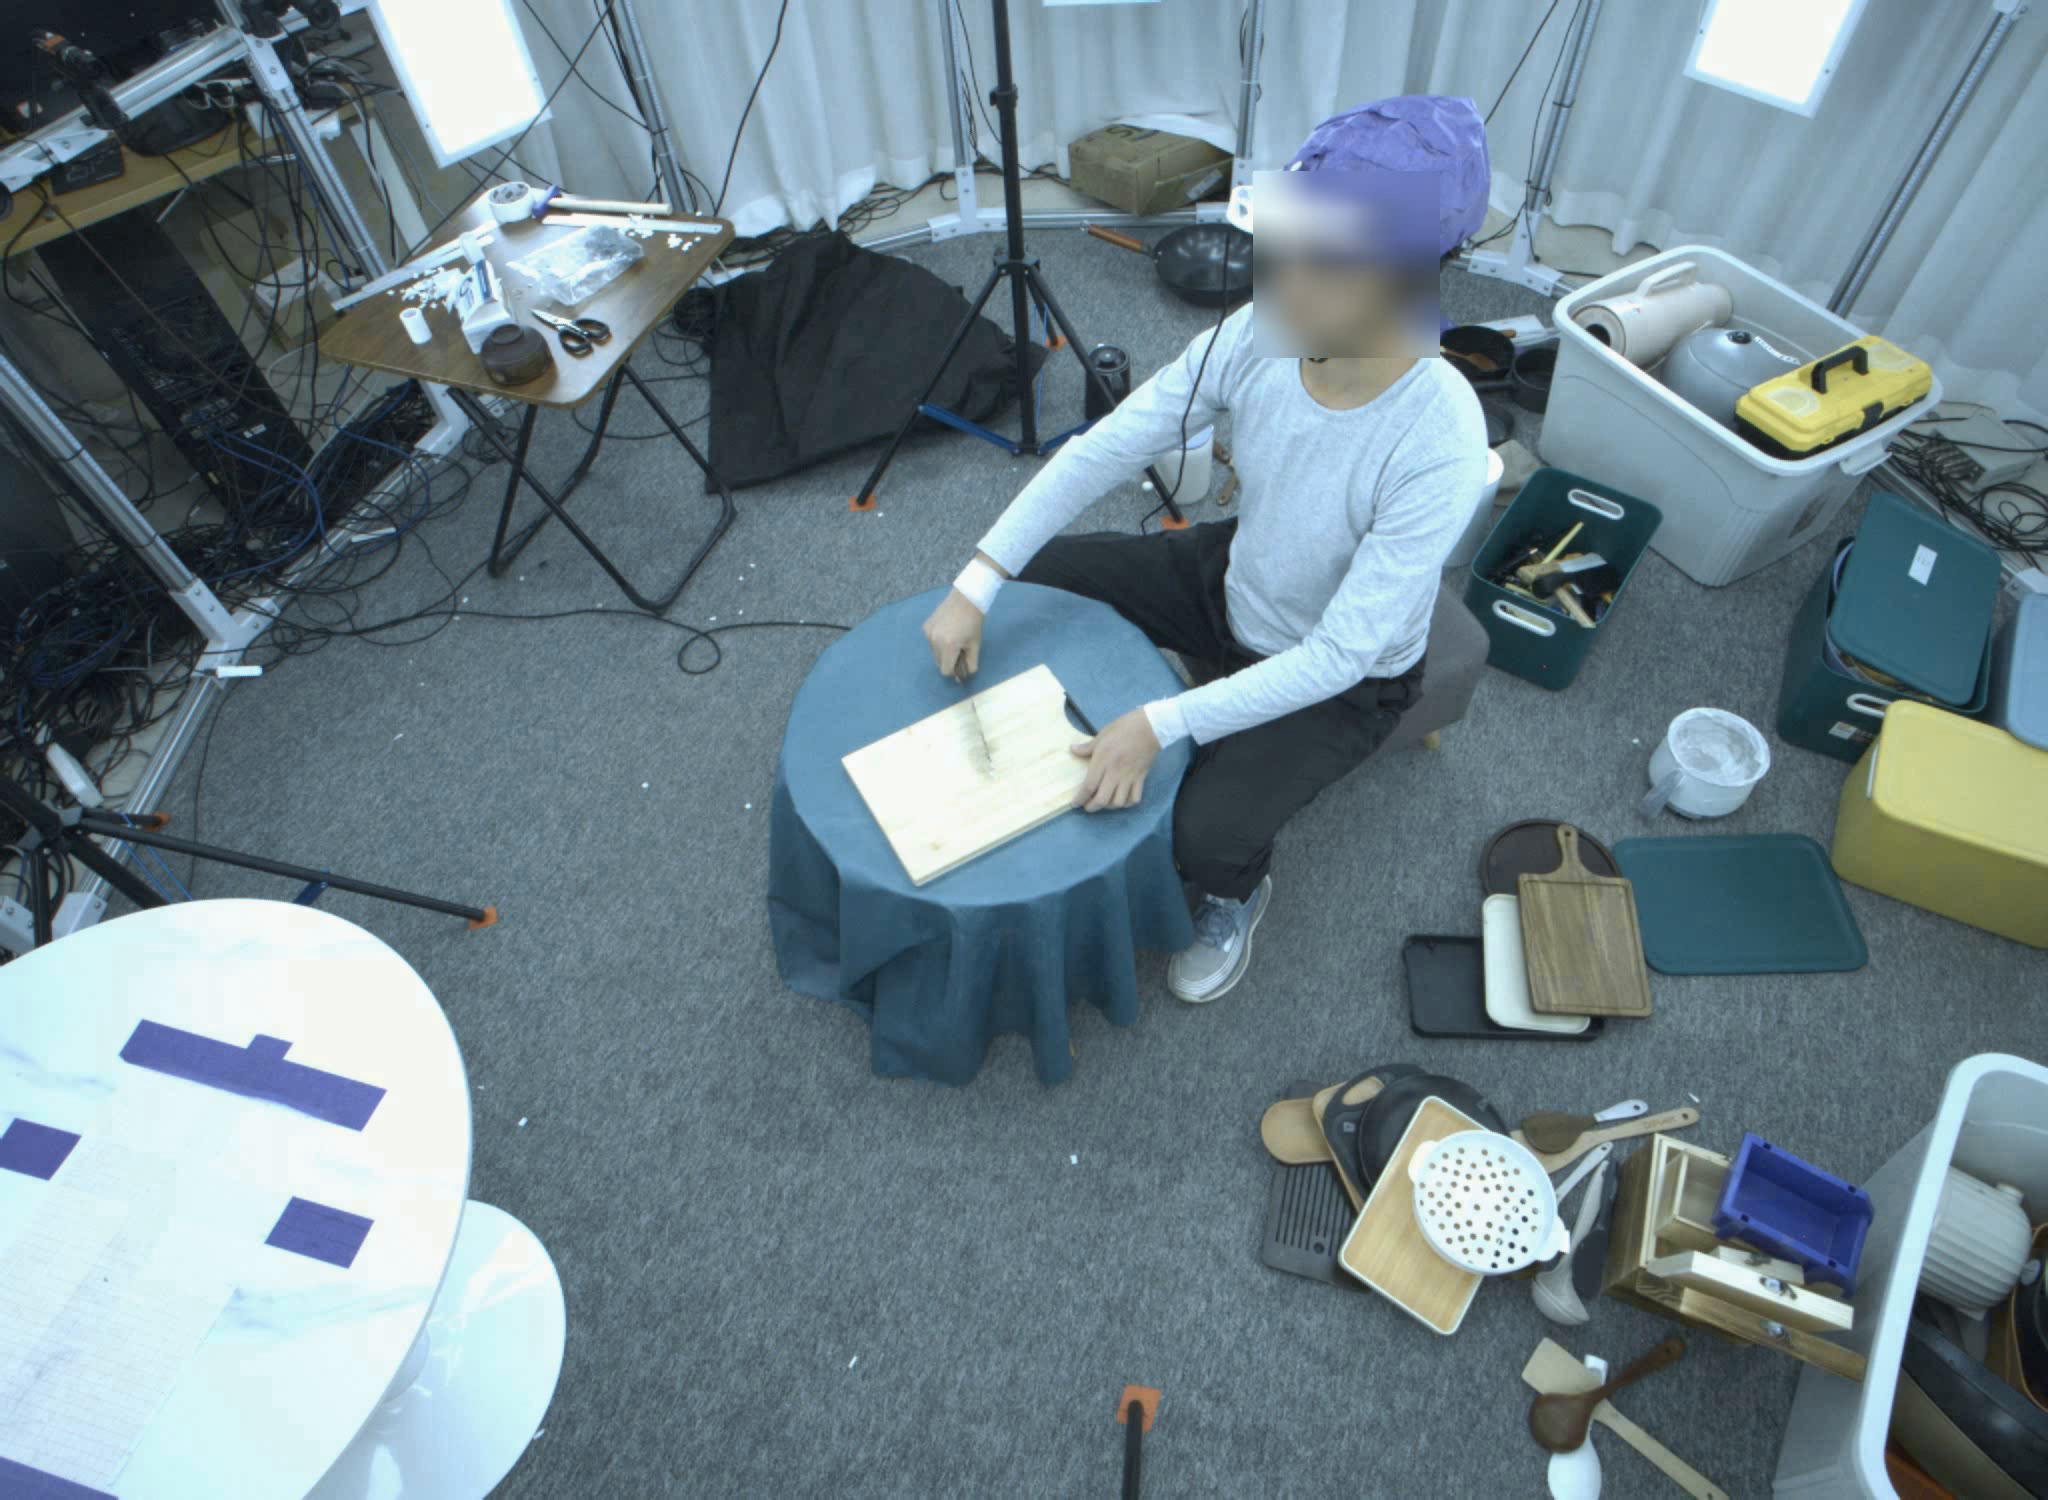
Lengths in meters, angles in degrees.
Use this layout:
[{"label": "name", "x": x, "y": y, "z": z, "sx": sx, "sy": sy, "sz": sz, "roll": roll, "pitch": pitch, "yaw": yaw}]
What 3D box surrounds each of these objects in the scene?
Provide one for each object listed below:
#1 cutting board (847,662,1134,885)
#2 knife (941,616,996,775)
[{"label": "cutting board", "x": -0.053, "y": 0.025, "z": 1.769, "sx": 0.351, "sy": 0.024, "sz": 0.246, "roll": -27, "pitch": 59, "yaw": -17}, {"label": "knife", "x": -0.080, "y": -0.083, "z": 1.802, "sx": 0.020, "sy": 0.051, "sz": 0.285, "roll": -20, "pitch": 61, "yaw": 3}]
